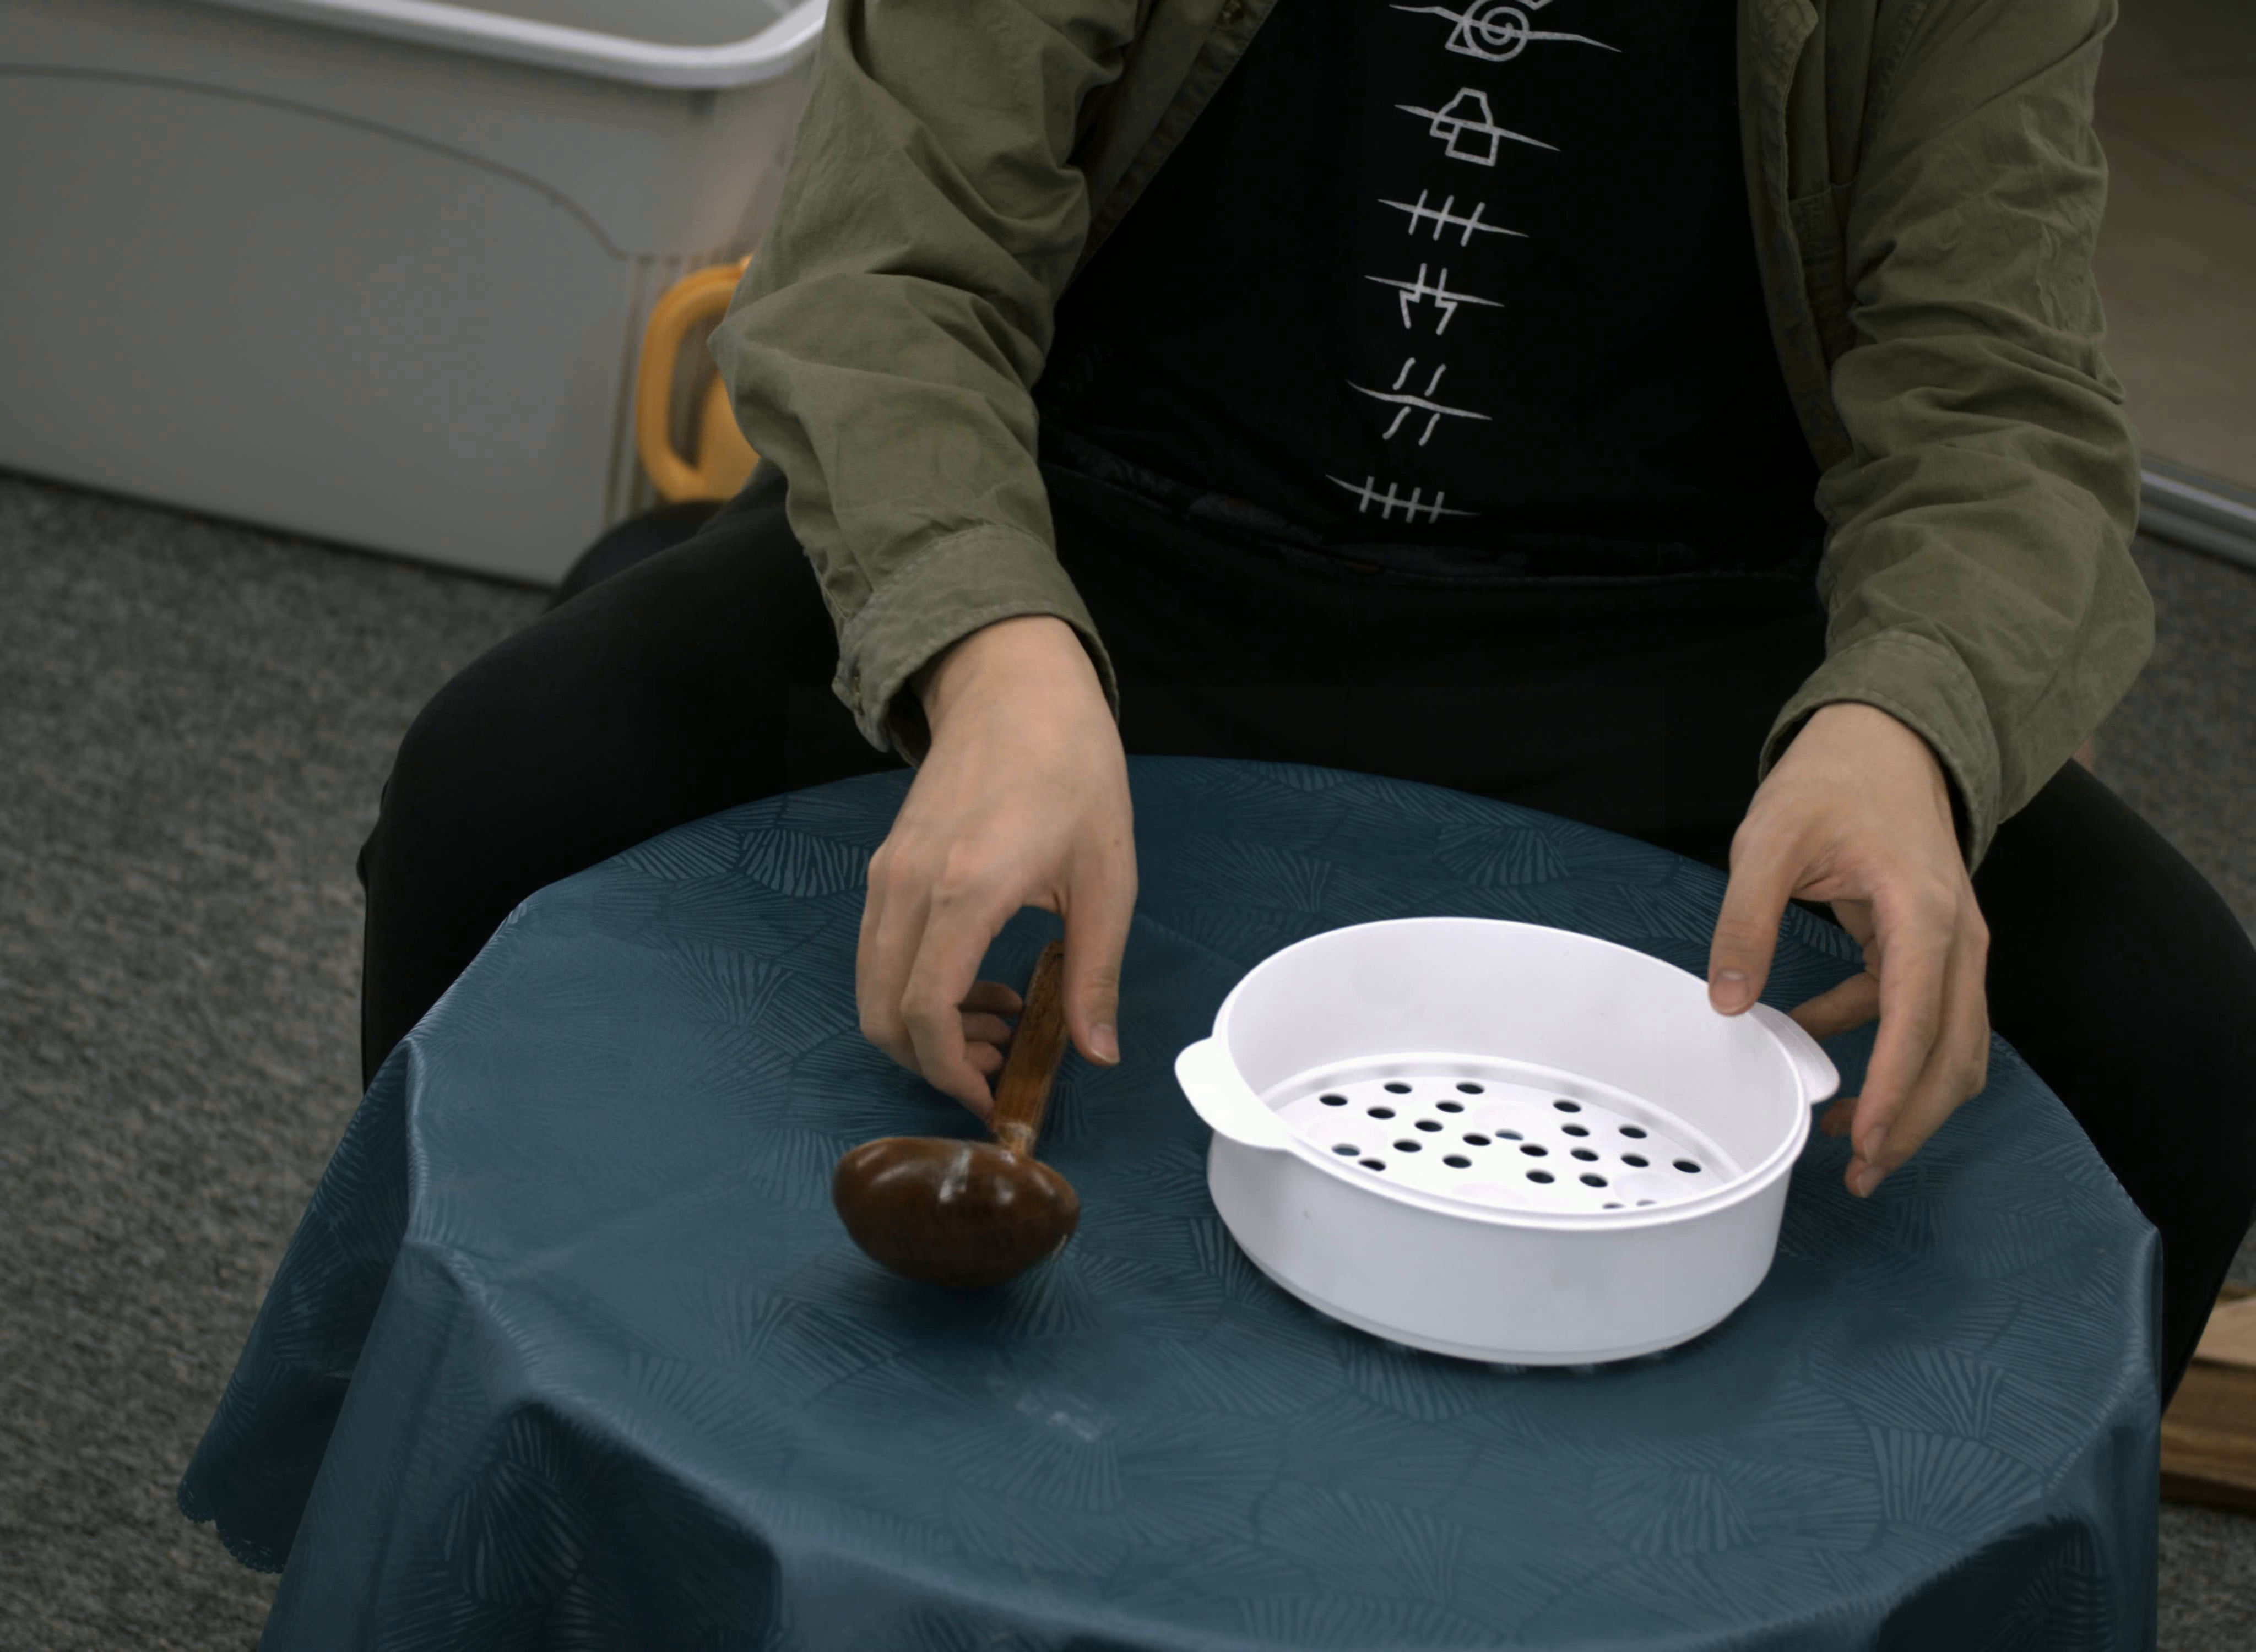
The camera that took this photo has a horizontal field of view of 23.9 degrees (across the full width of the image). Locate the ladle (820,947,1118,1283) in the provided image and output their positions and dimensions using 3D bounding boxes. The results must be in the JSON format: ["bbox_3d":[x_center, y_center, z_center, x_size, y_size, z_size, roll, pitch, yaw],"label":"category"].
[{"bbox_3d":[-0.041,0.076,1.800,0.082,0.076,0.275,8,26,8],"label":"ladle"}]

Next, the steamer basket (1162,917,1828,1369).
[{"bbox_3d":[0.120,0.107,1.784,0.229,0.069,0.203,-3,28,-19],"label":"steamer basket"}]
